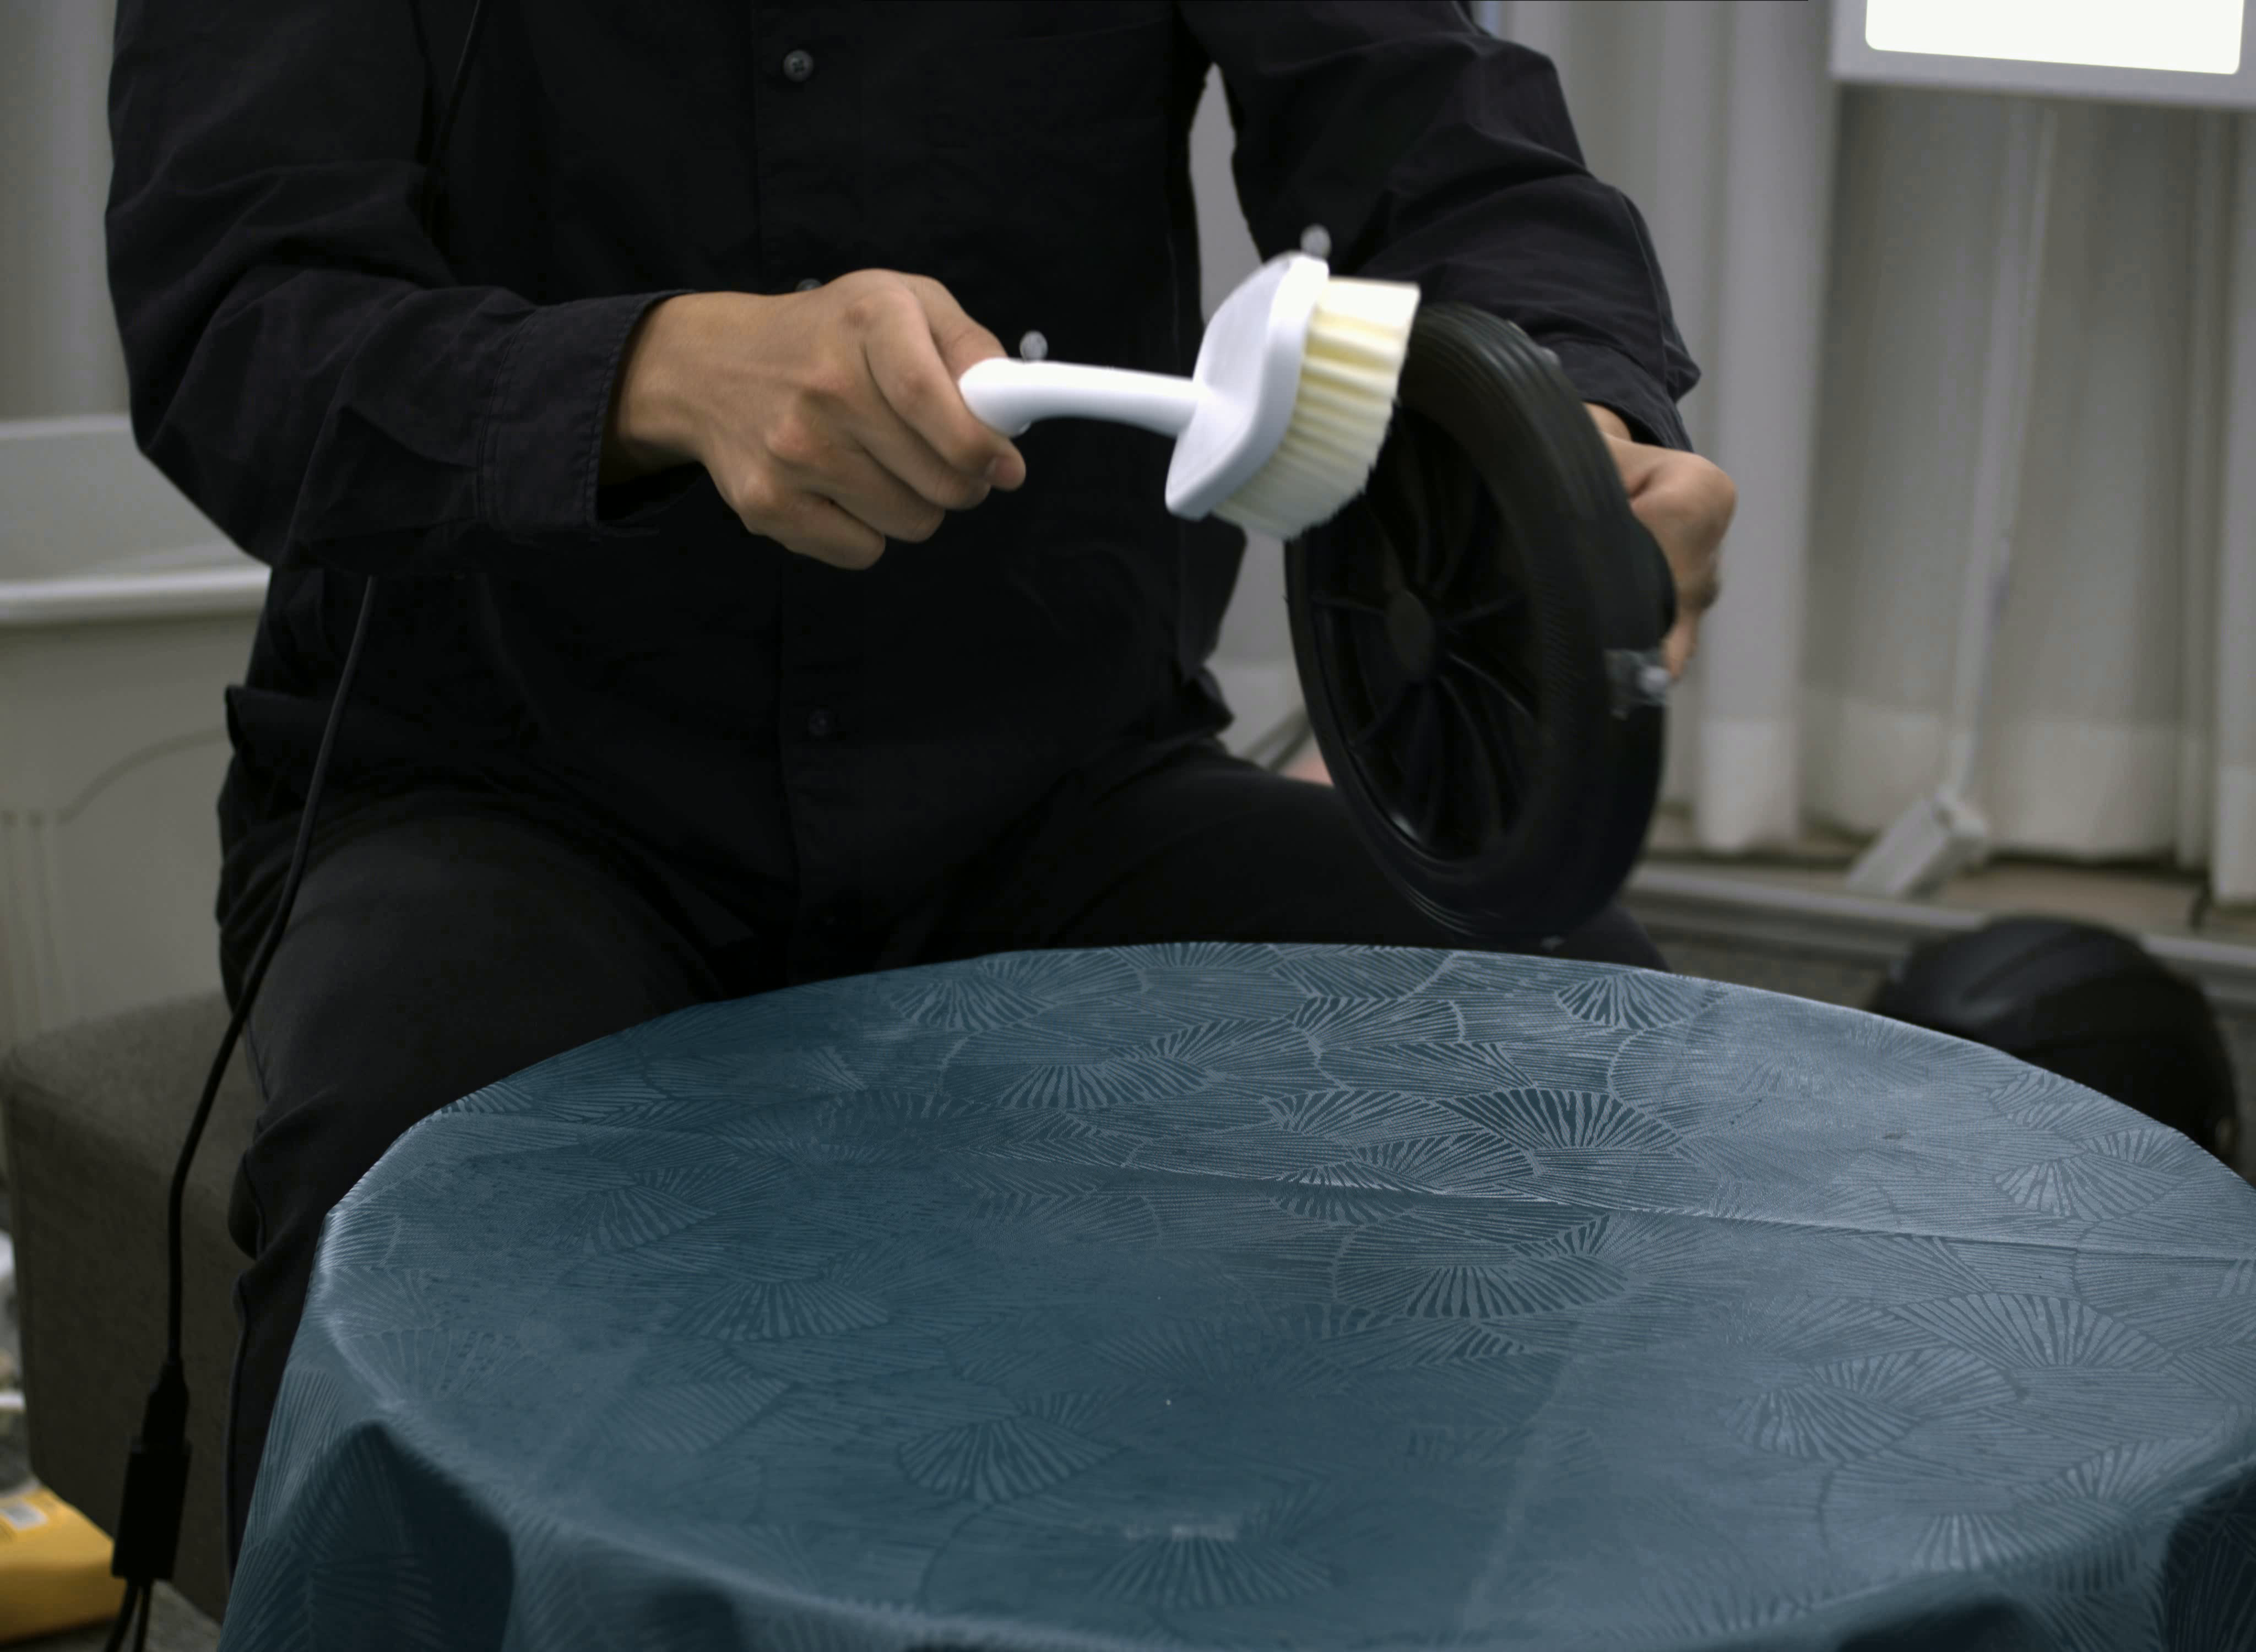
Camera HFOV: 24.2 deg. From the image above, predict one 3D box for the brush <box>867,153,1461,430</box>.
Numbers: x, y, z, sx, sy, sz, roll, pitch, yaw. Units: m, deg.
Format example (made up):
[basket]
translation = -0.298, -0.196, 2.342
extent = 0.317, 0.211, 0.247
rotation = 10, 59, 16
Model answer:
[brush]
translation = 0.023, -0.156, 1.620
extent = 0.083, 0.085, 0.323
rotation = -41, 14, -22

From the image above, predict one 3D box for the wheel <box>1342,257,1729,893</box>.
[wheel]
translation = 0.138, -0.079, 1.573
extent = 0.079, 0.189, 0.187
rotation = -14, 48, -26
